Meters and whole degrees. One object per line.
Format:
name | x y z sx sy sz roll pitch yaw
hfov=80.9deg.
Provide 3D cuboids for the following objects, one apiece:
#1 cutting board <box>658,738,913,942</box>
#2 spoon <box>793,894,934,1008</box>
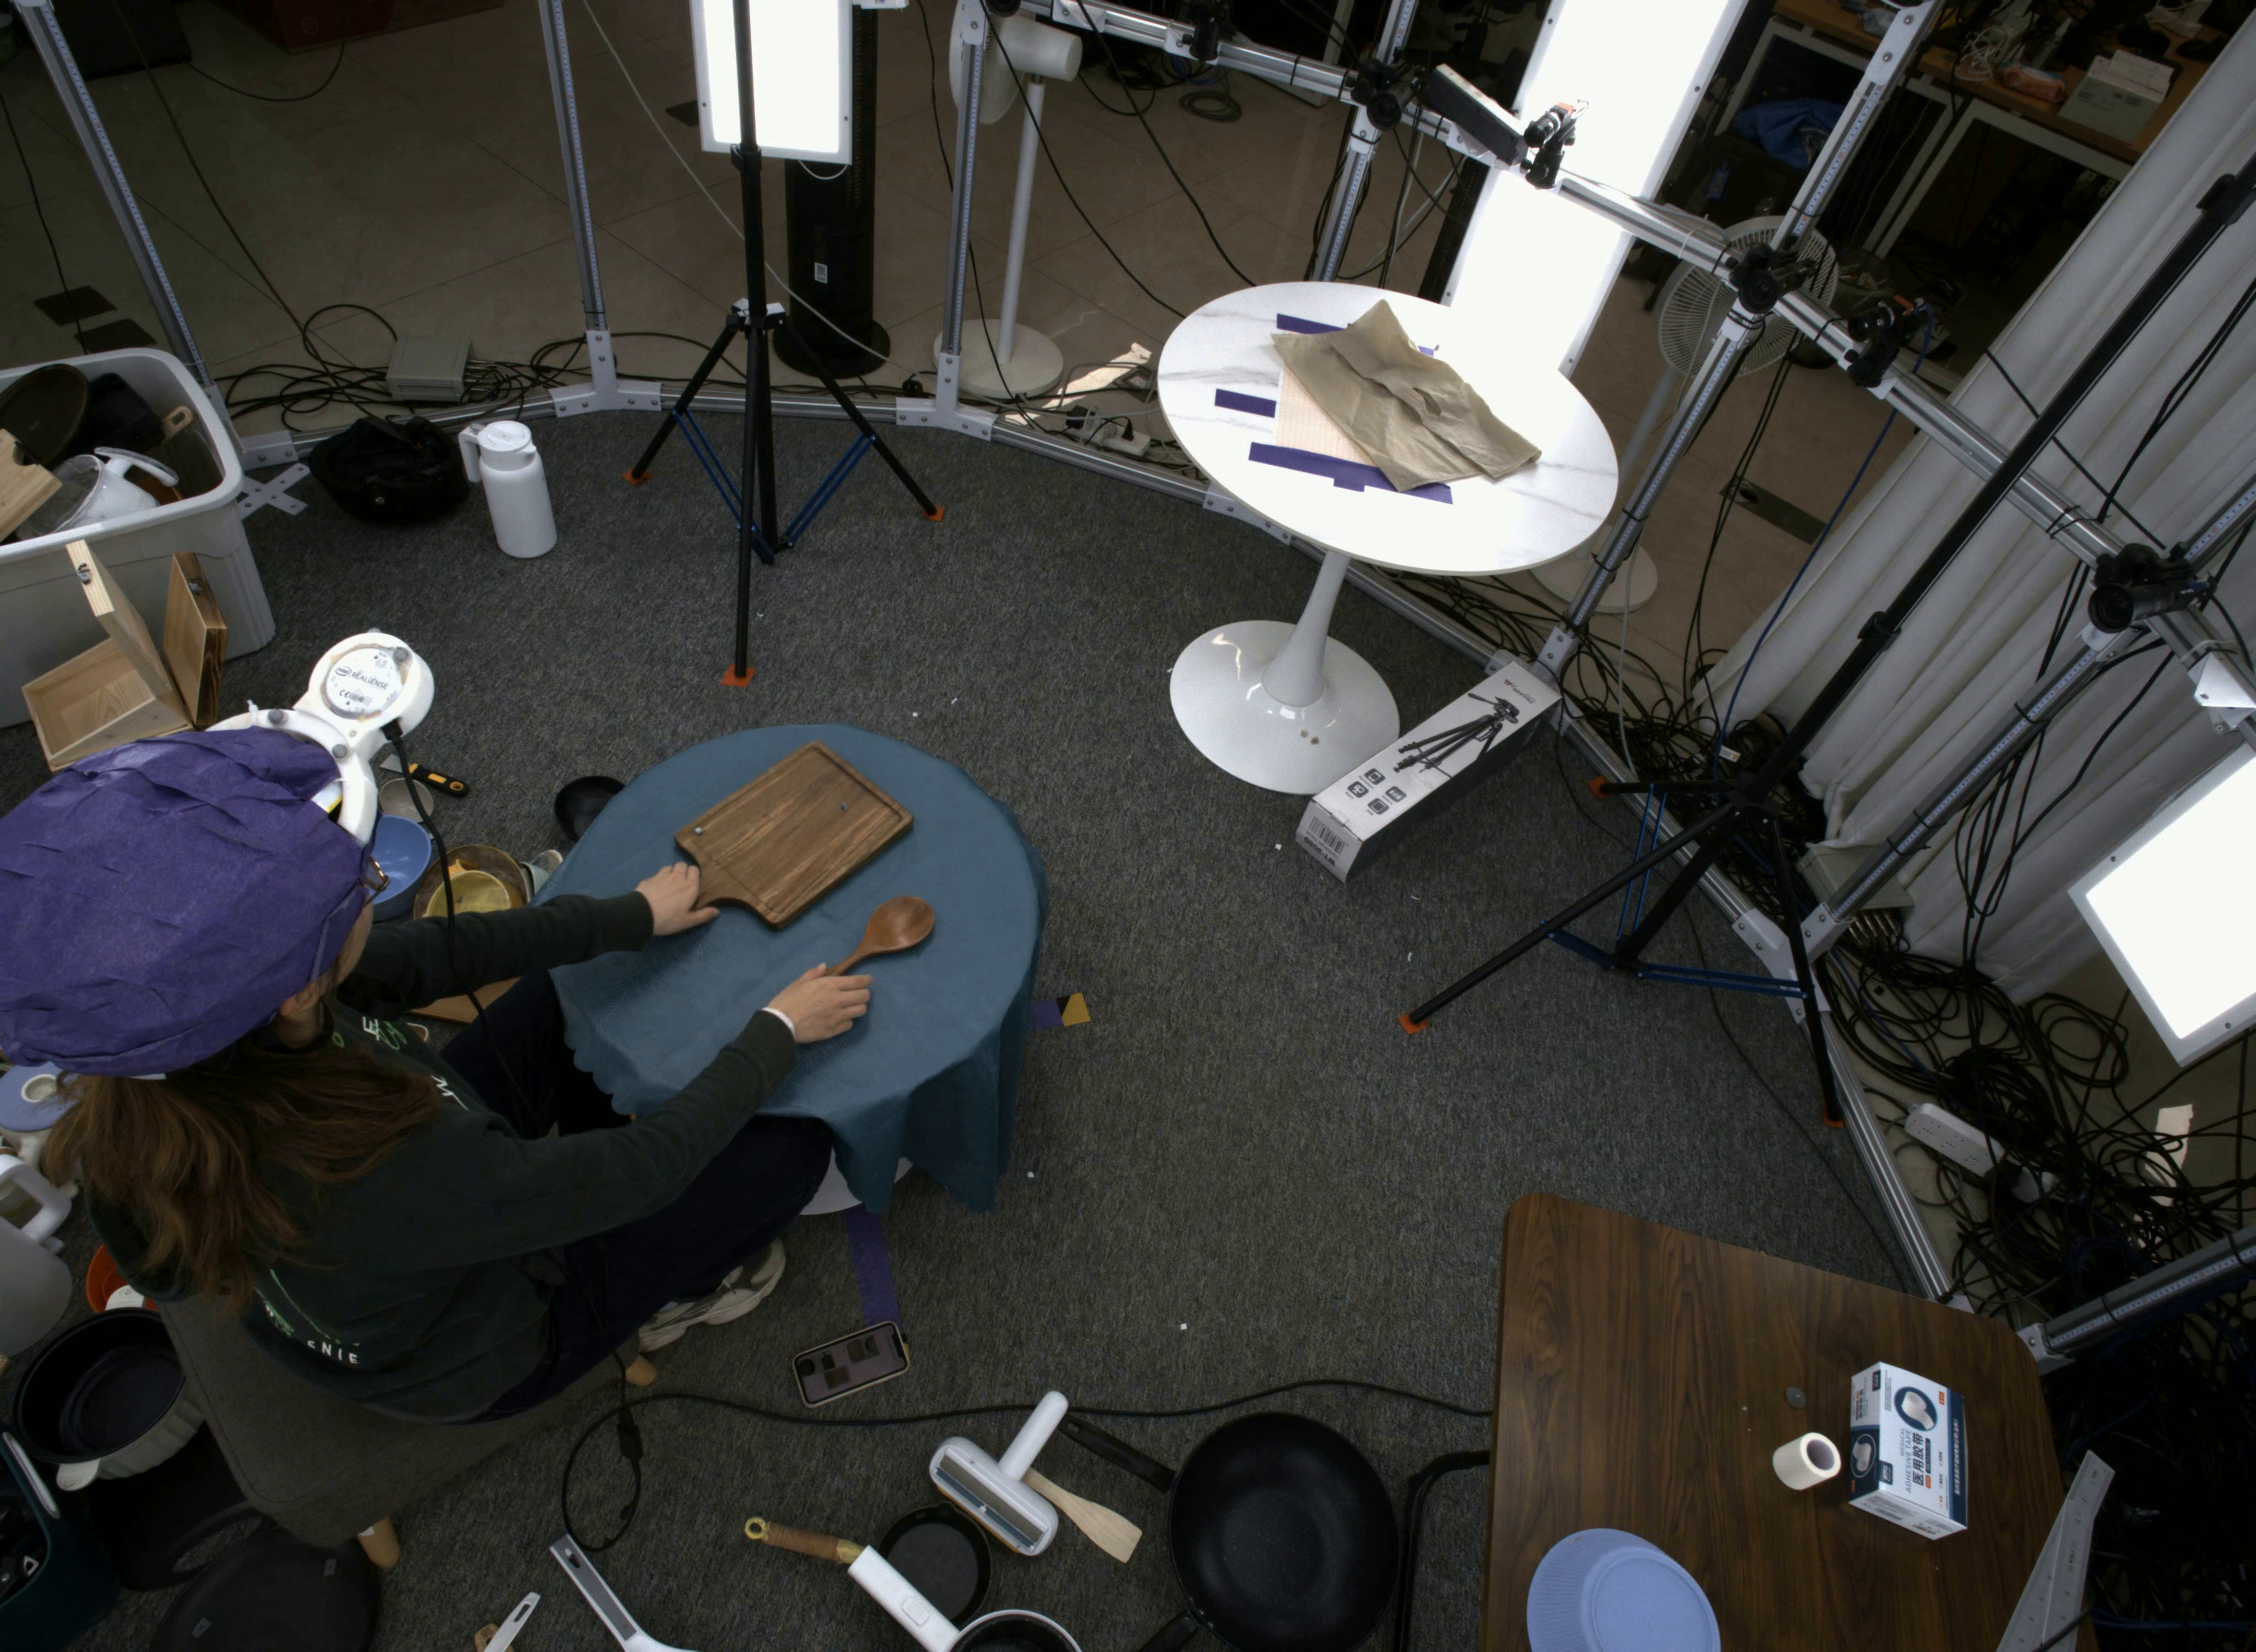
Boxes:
cutting board | -0.468 0.032 1.683 0.197 0.023 0.352 38 54 13
spoon | -0.332 0.156 1.625 0.074 0.017 0.216 41 54 15
